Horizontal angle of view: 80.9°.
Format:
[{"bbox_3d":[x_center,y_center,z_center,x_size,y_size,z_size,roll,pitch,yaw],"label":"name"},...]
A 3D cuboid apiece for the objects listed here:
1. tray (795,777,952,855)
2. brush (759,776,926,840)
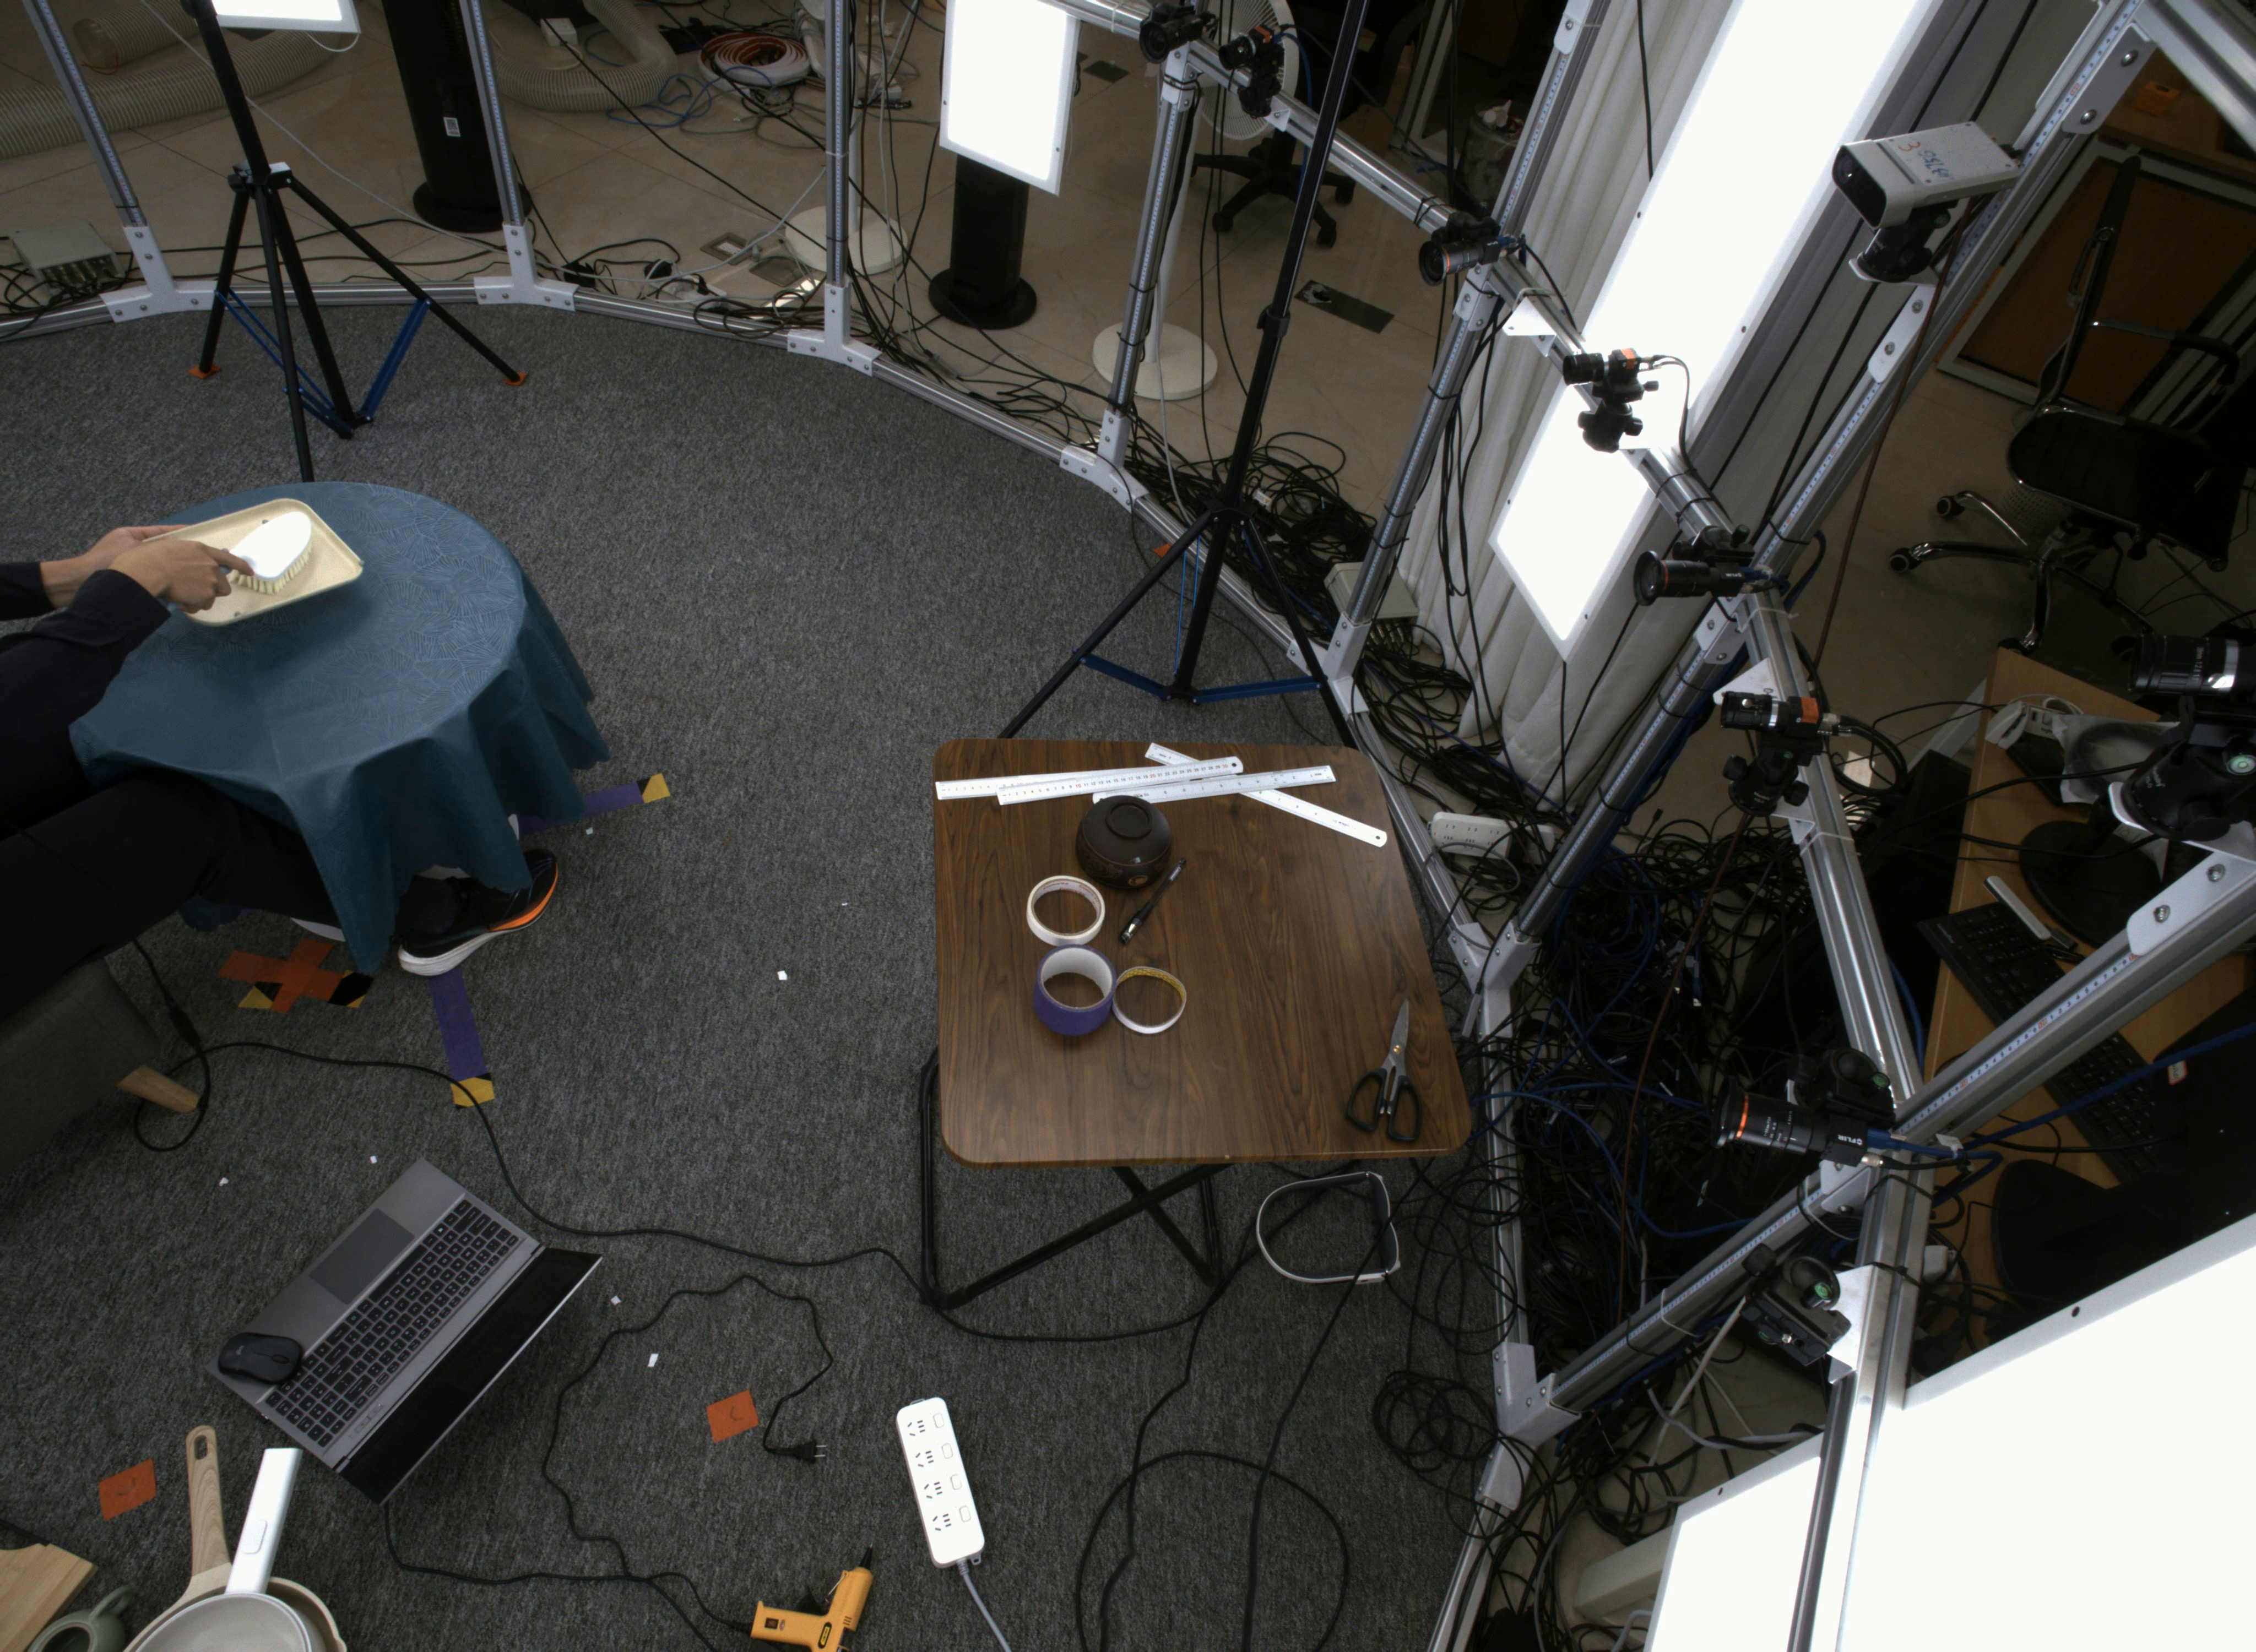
[{"bbox_3d":[-0.404,-0.015,2.053,0.243,0.018,0.165,7,33,-28],"label":"tray"},{"bbox_3d":[-0.437,-0.023,1.964,0.080,0.085,0.332,-4,-4,34],"label":"brush"}]
